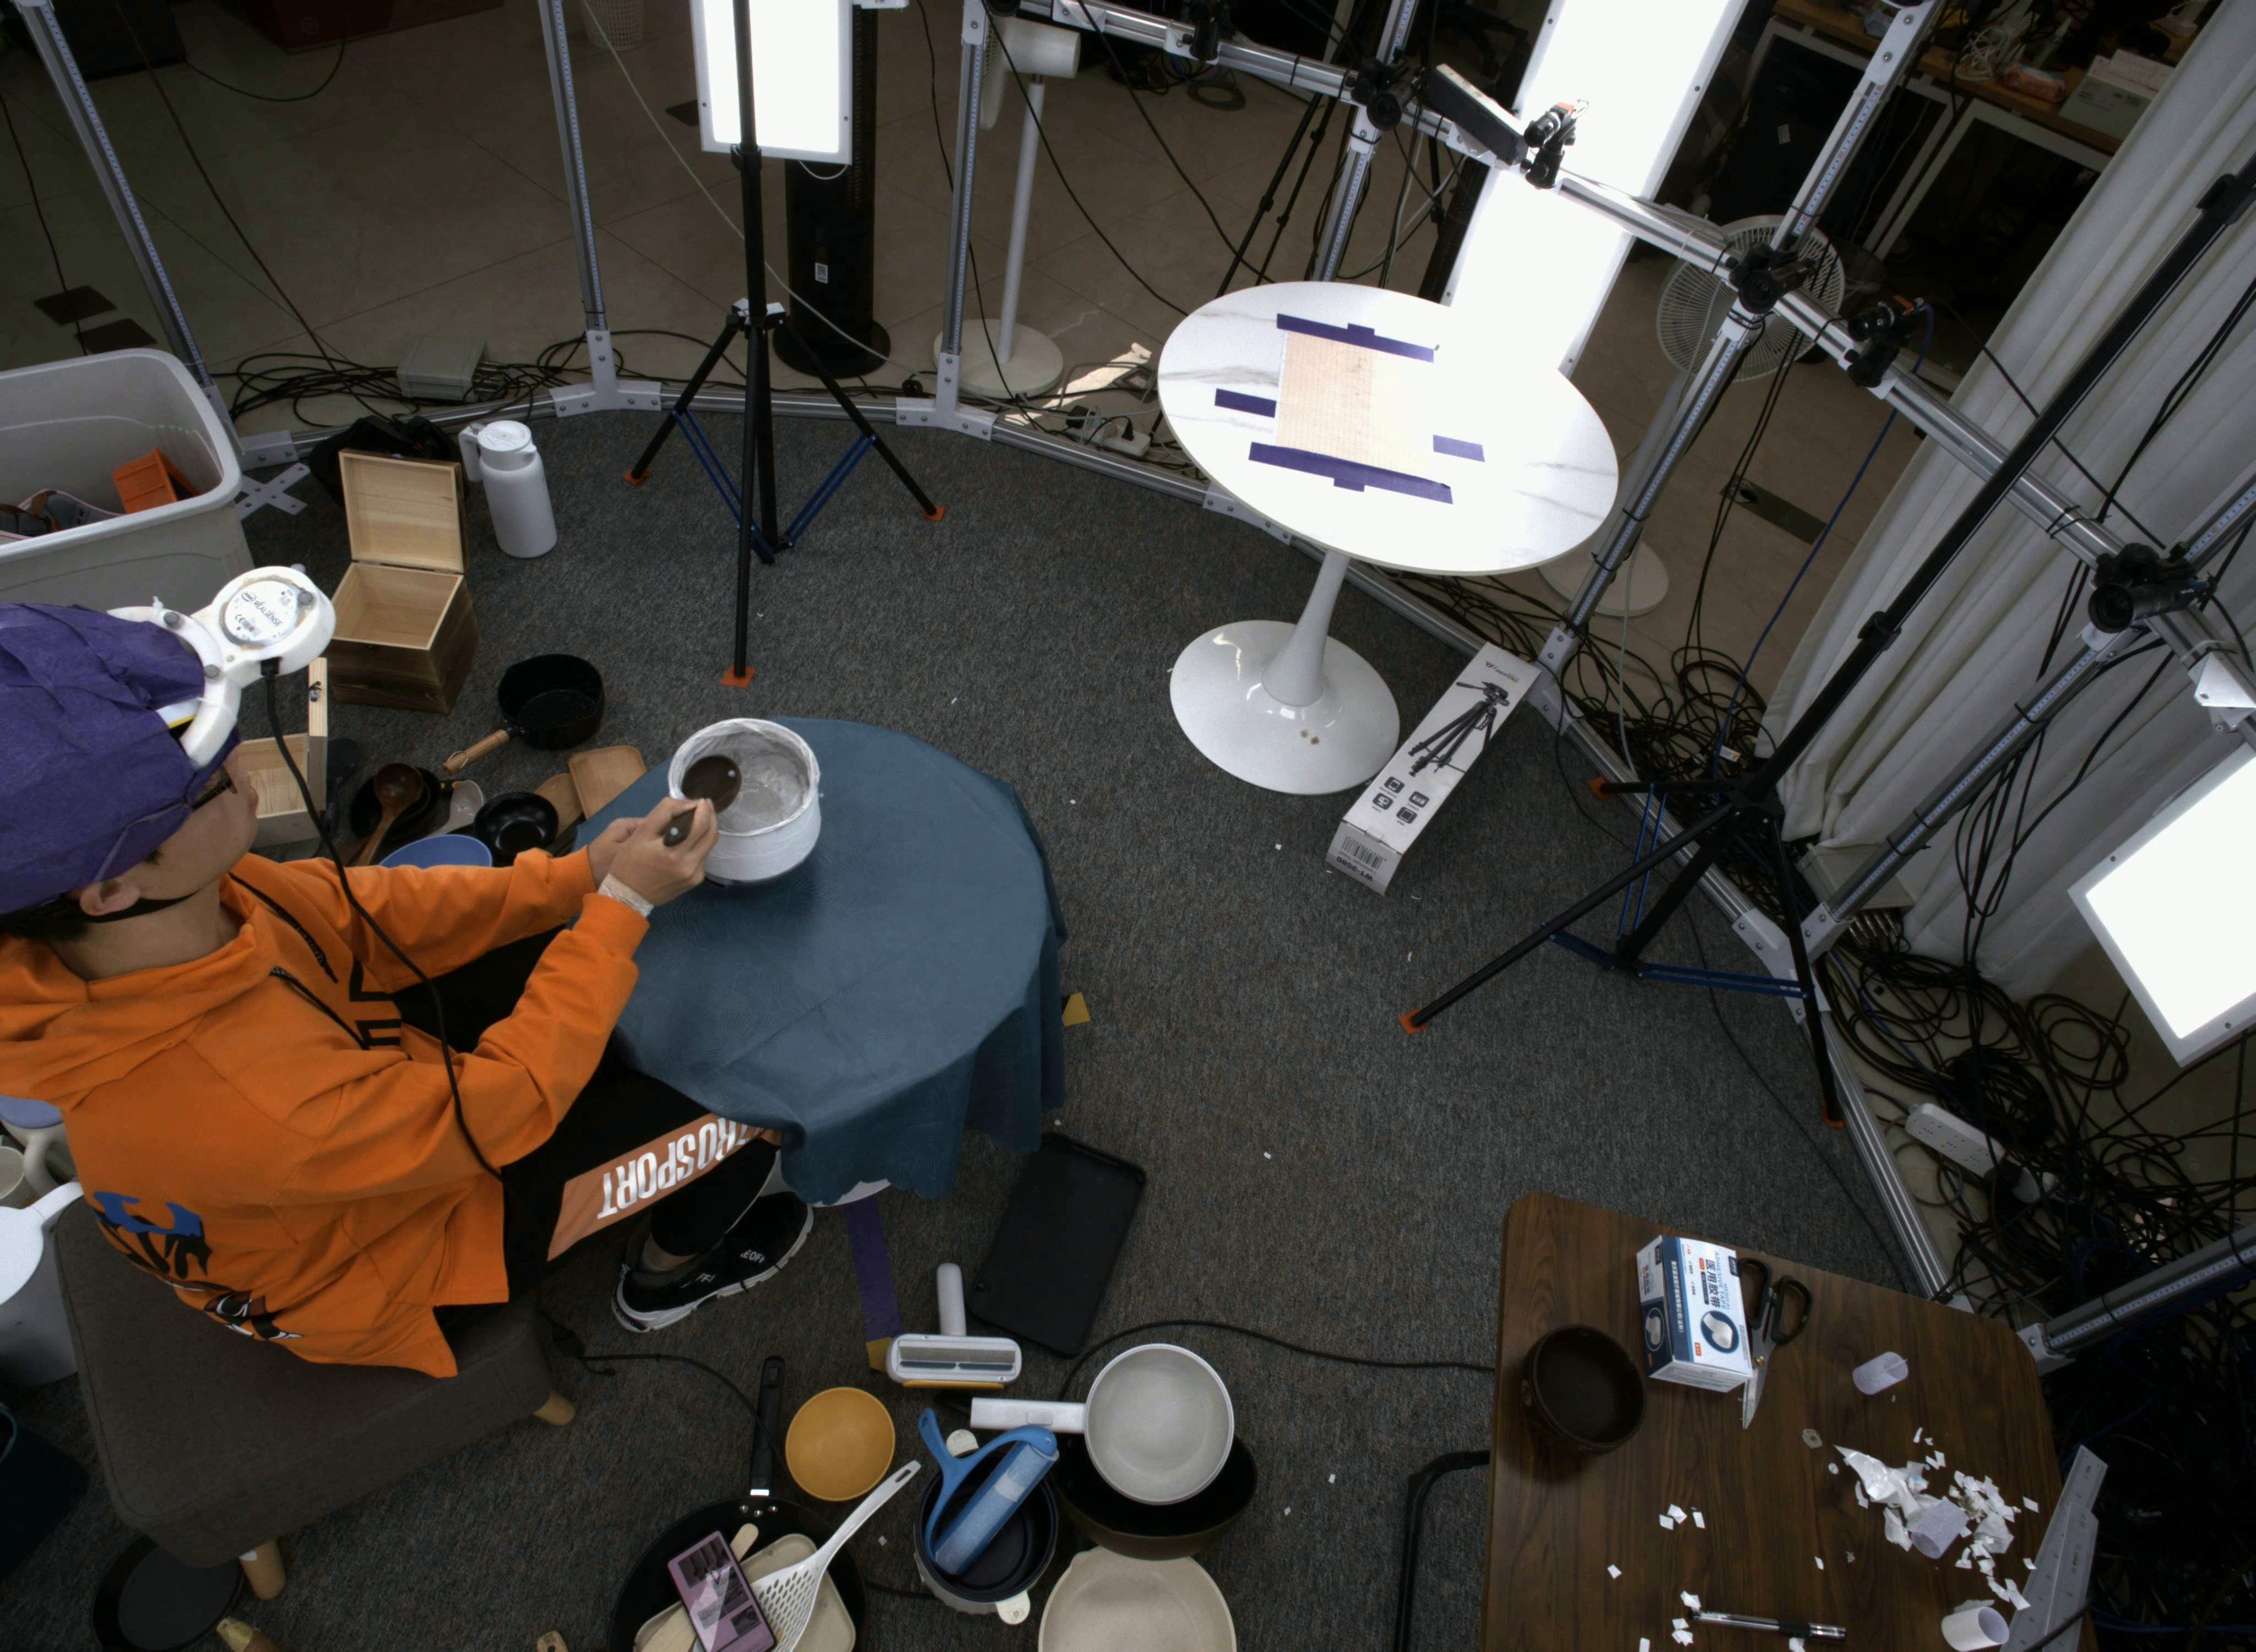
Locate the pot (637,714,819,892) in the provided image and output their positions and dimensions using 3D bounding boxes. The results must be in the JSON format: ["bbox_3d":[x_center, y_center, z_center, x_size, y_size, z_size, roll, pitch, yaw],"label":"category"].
[{"bbox_3d":[-0.489,-0.014,1.566,0.234,0.139,0.175,-33,67,-30],"label":"pot"}]

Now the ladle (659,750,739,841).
[{"bbox_3d":[-0.484,-0.039,1.415,0.075,0.270,0.073,-26,99,-1],"label":"ladle"}]
